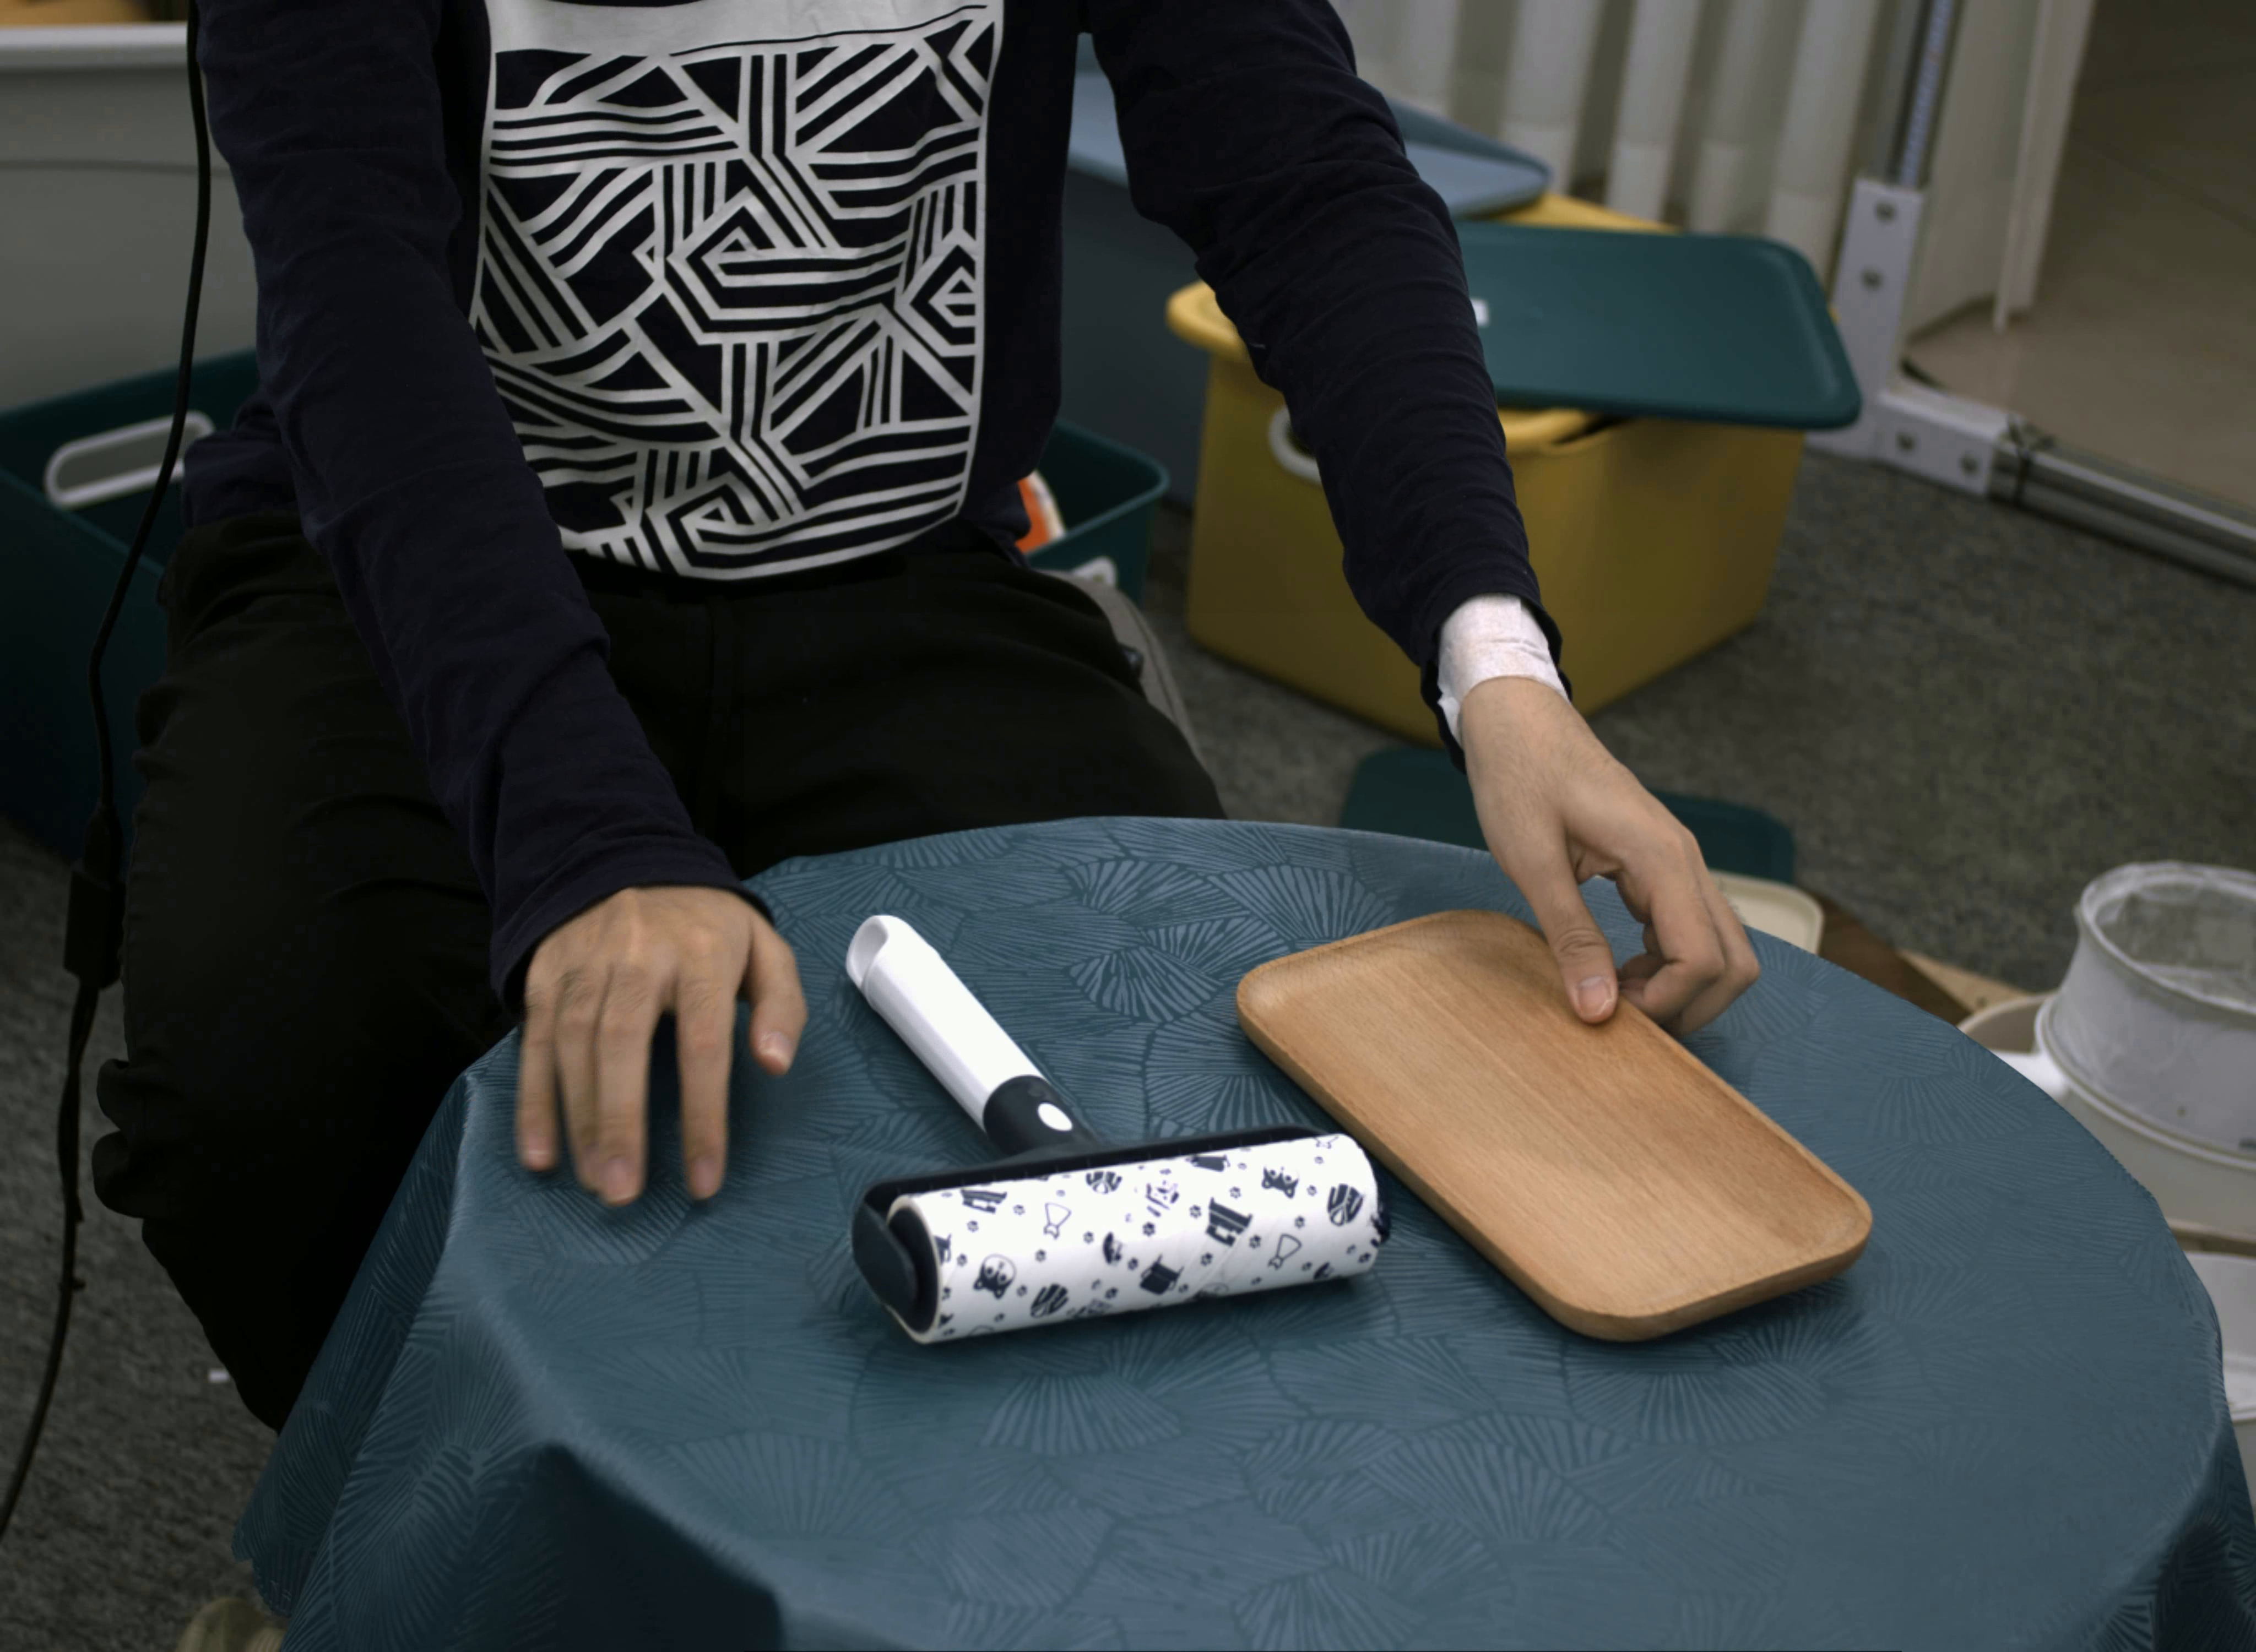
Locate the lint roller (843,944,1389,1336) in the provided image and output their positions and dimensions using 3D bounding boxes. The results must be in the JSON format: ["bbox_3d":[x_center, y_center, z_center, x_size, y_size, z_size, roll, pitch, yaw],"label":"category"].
[{"bbox_3d":[-0.043,0.092,1.816,0.175,0.050,0.249,-8,27,-25],"label":"lint roller"}]

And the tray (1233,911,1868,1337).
[{"bbox_3d":[0.143,0.101,1.854,0.130,0.023,0.253,-11,31,-26],"label":"tray"}]
